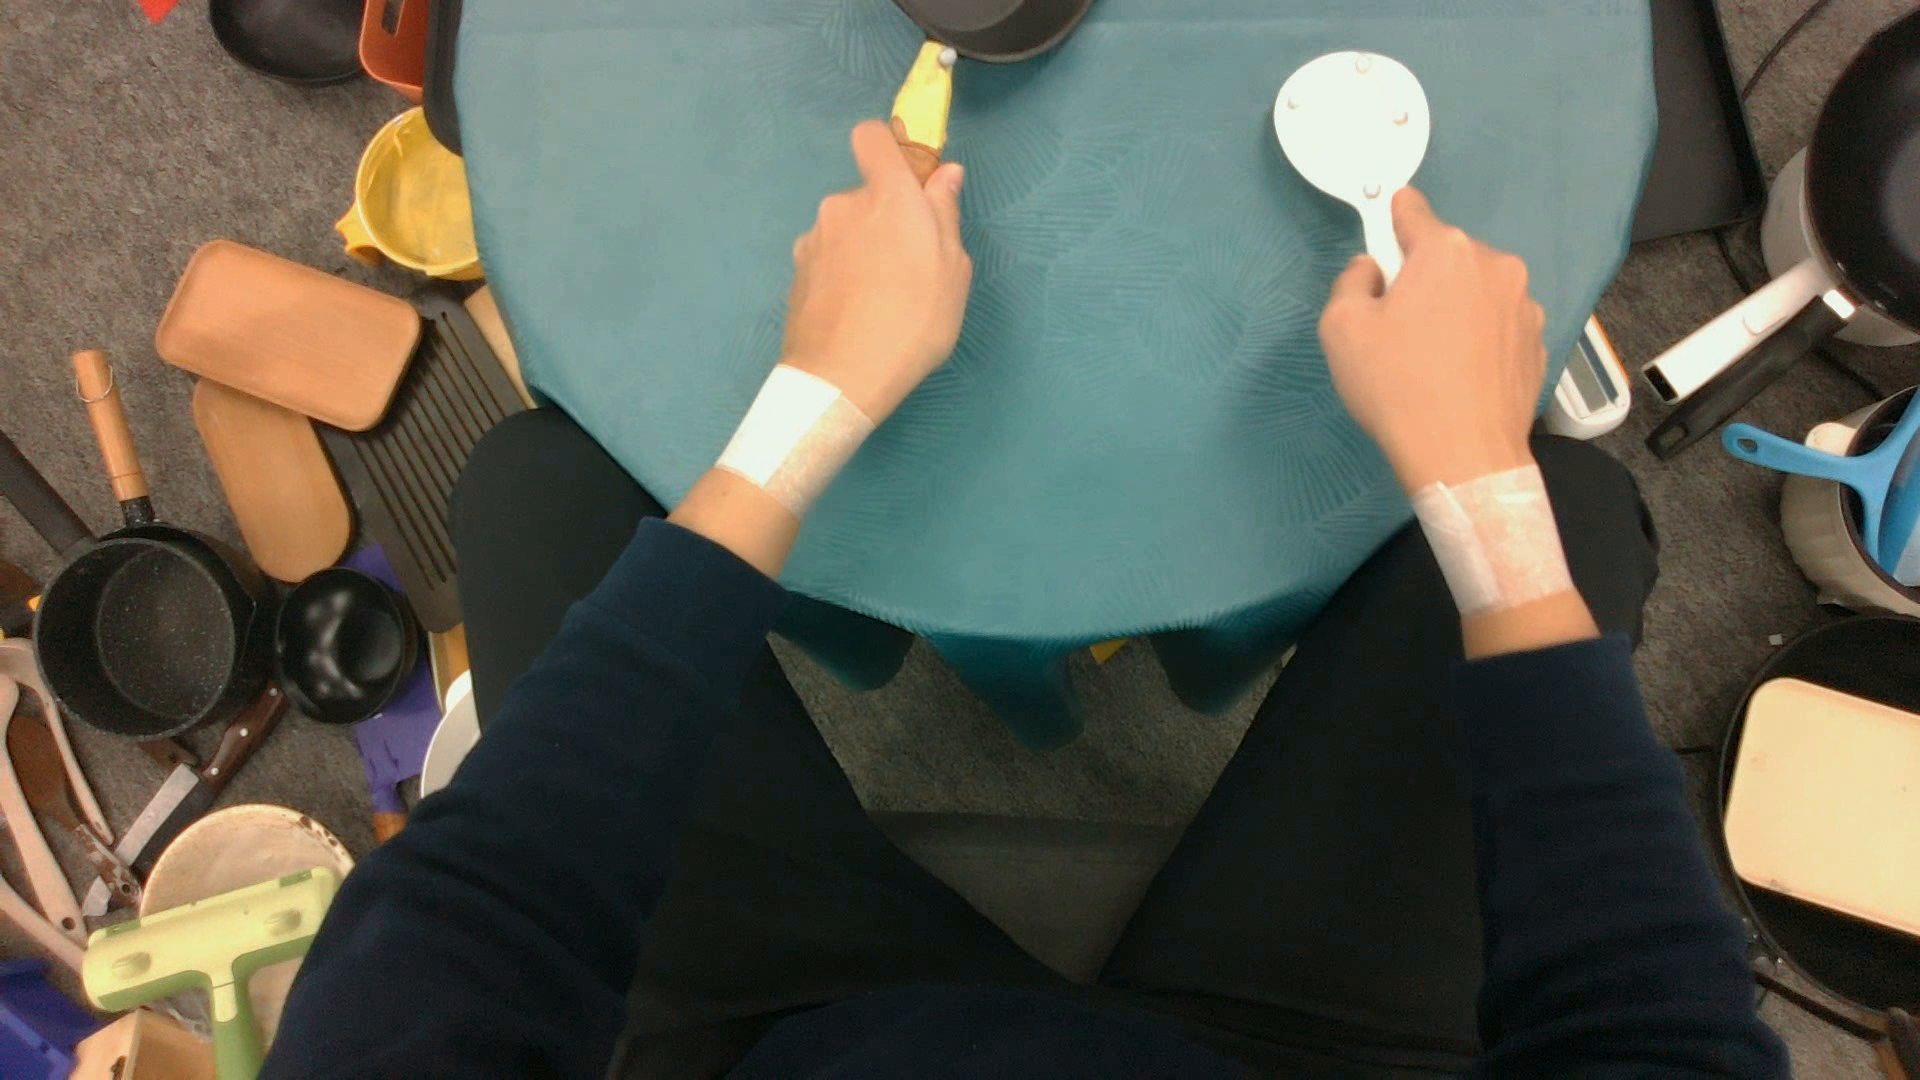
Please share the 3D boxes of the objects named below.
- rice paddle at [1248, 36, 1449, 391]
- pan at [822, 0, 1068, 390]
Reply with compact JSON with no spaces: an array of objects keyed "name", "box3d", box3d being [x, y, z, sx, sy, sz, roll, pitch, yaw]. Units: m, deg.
[{"name":"rice paddle","box3d":[0.180,-0.161,0.633,0.069,0.029,0.206,-11,61,8]},{"name":"pan","box3d":[-0.022,-0.227,0.636,0.049,0.169,0.324,14,87,47]}]
